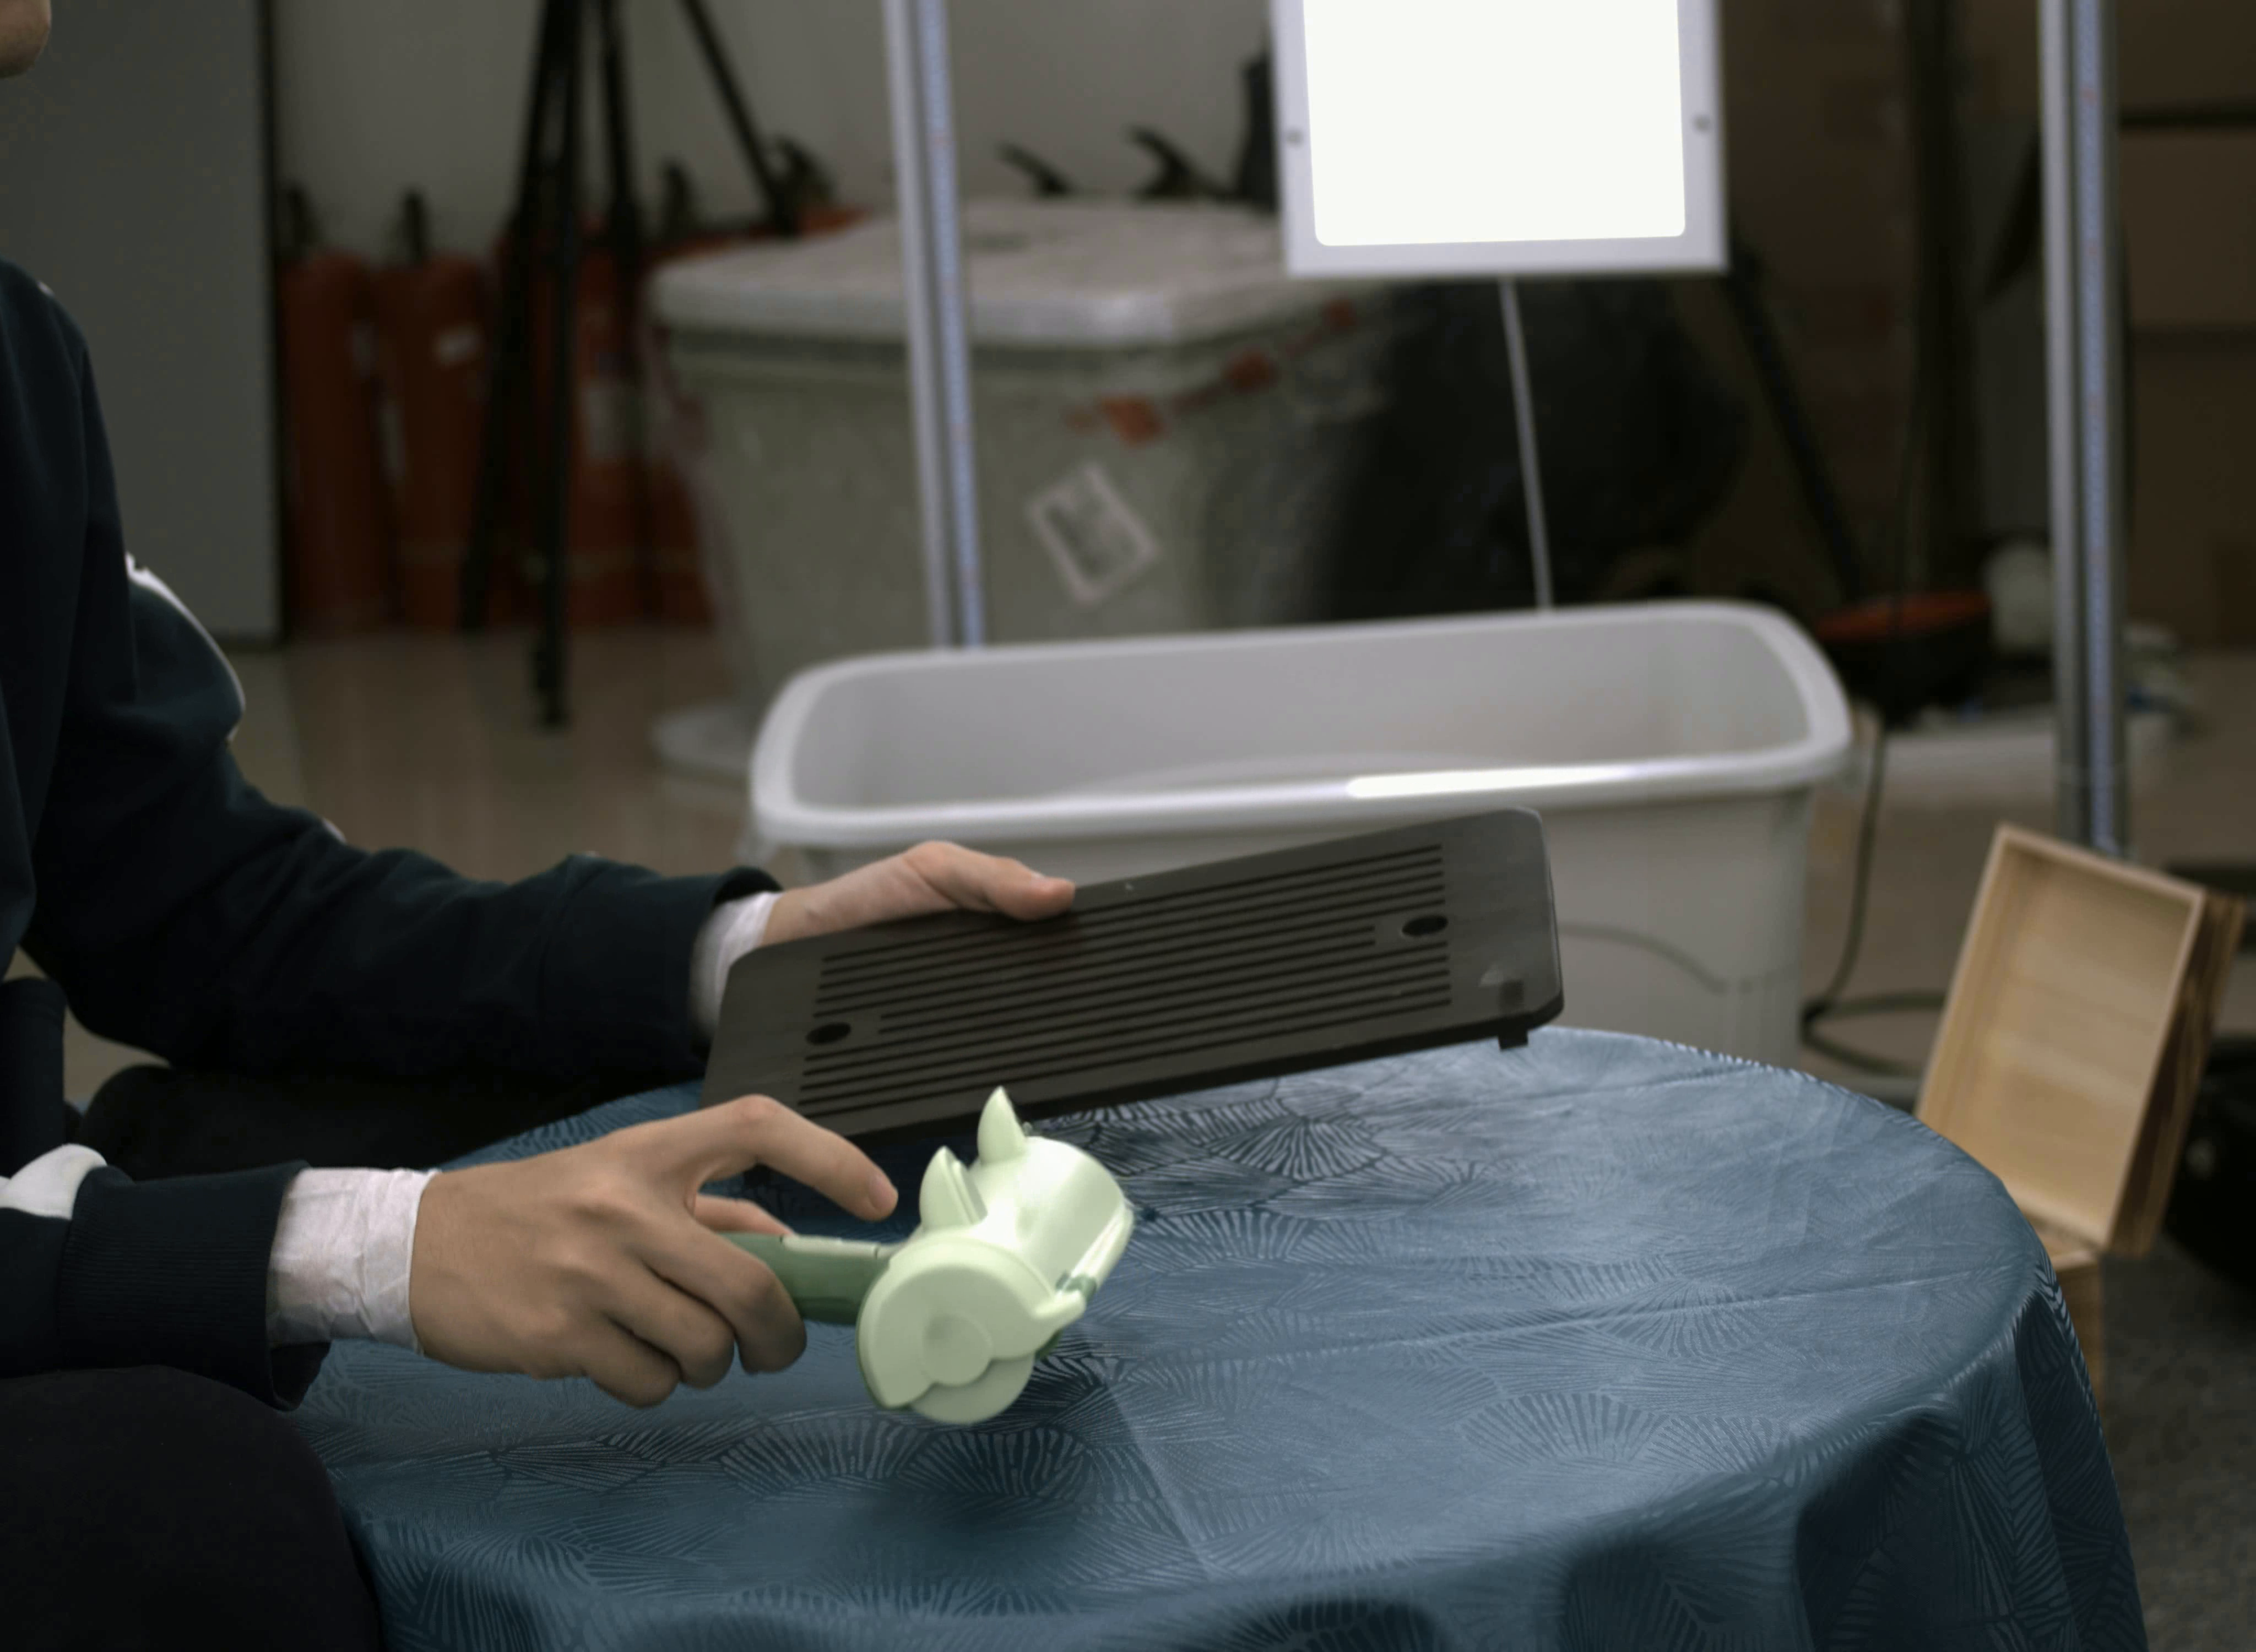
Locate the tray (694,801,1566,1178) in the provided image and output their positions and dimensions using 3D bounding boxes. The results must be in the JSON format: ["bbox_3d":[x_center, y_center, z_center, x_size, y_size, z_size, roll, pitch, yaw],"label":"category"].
[{"bbox_3d":[0.002,0.058,1.941,0.307,0.018,0.169,-11,23,8],"label":"tray"}]

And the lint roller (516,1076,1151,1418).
[{"bbox_3d":[-0.094,0.120,1.668,0.184,0.082,0.197,6,7,8],"label":"lint roller"}]
